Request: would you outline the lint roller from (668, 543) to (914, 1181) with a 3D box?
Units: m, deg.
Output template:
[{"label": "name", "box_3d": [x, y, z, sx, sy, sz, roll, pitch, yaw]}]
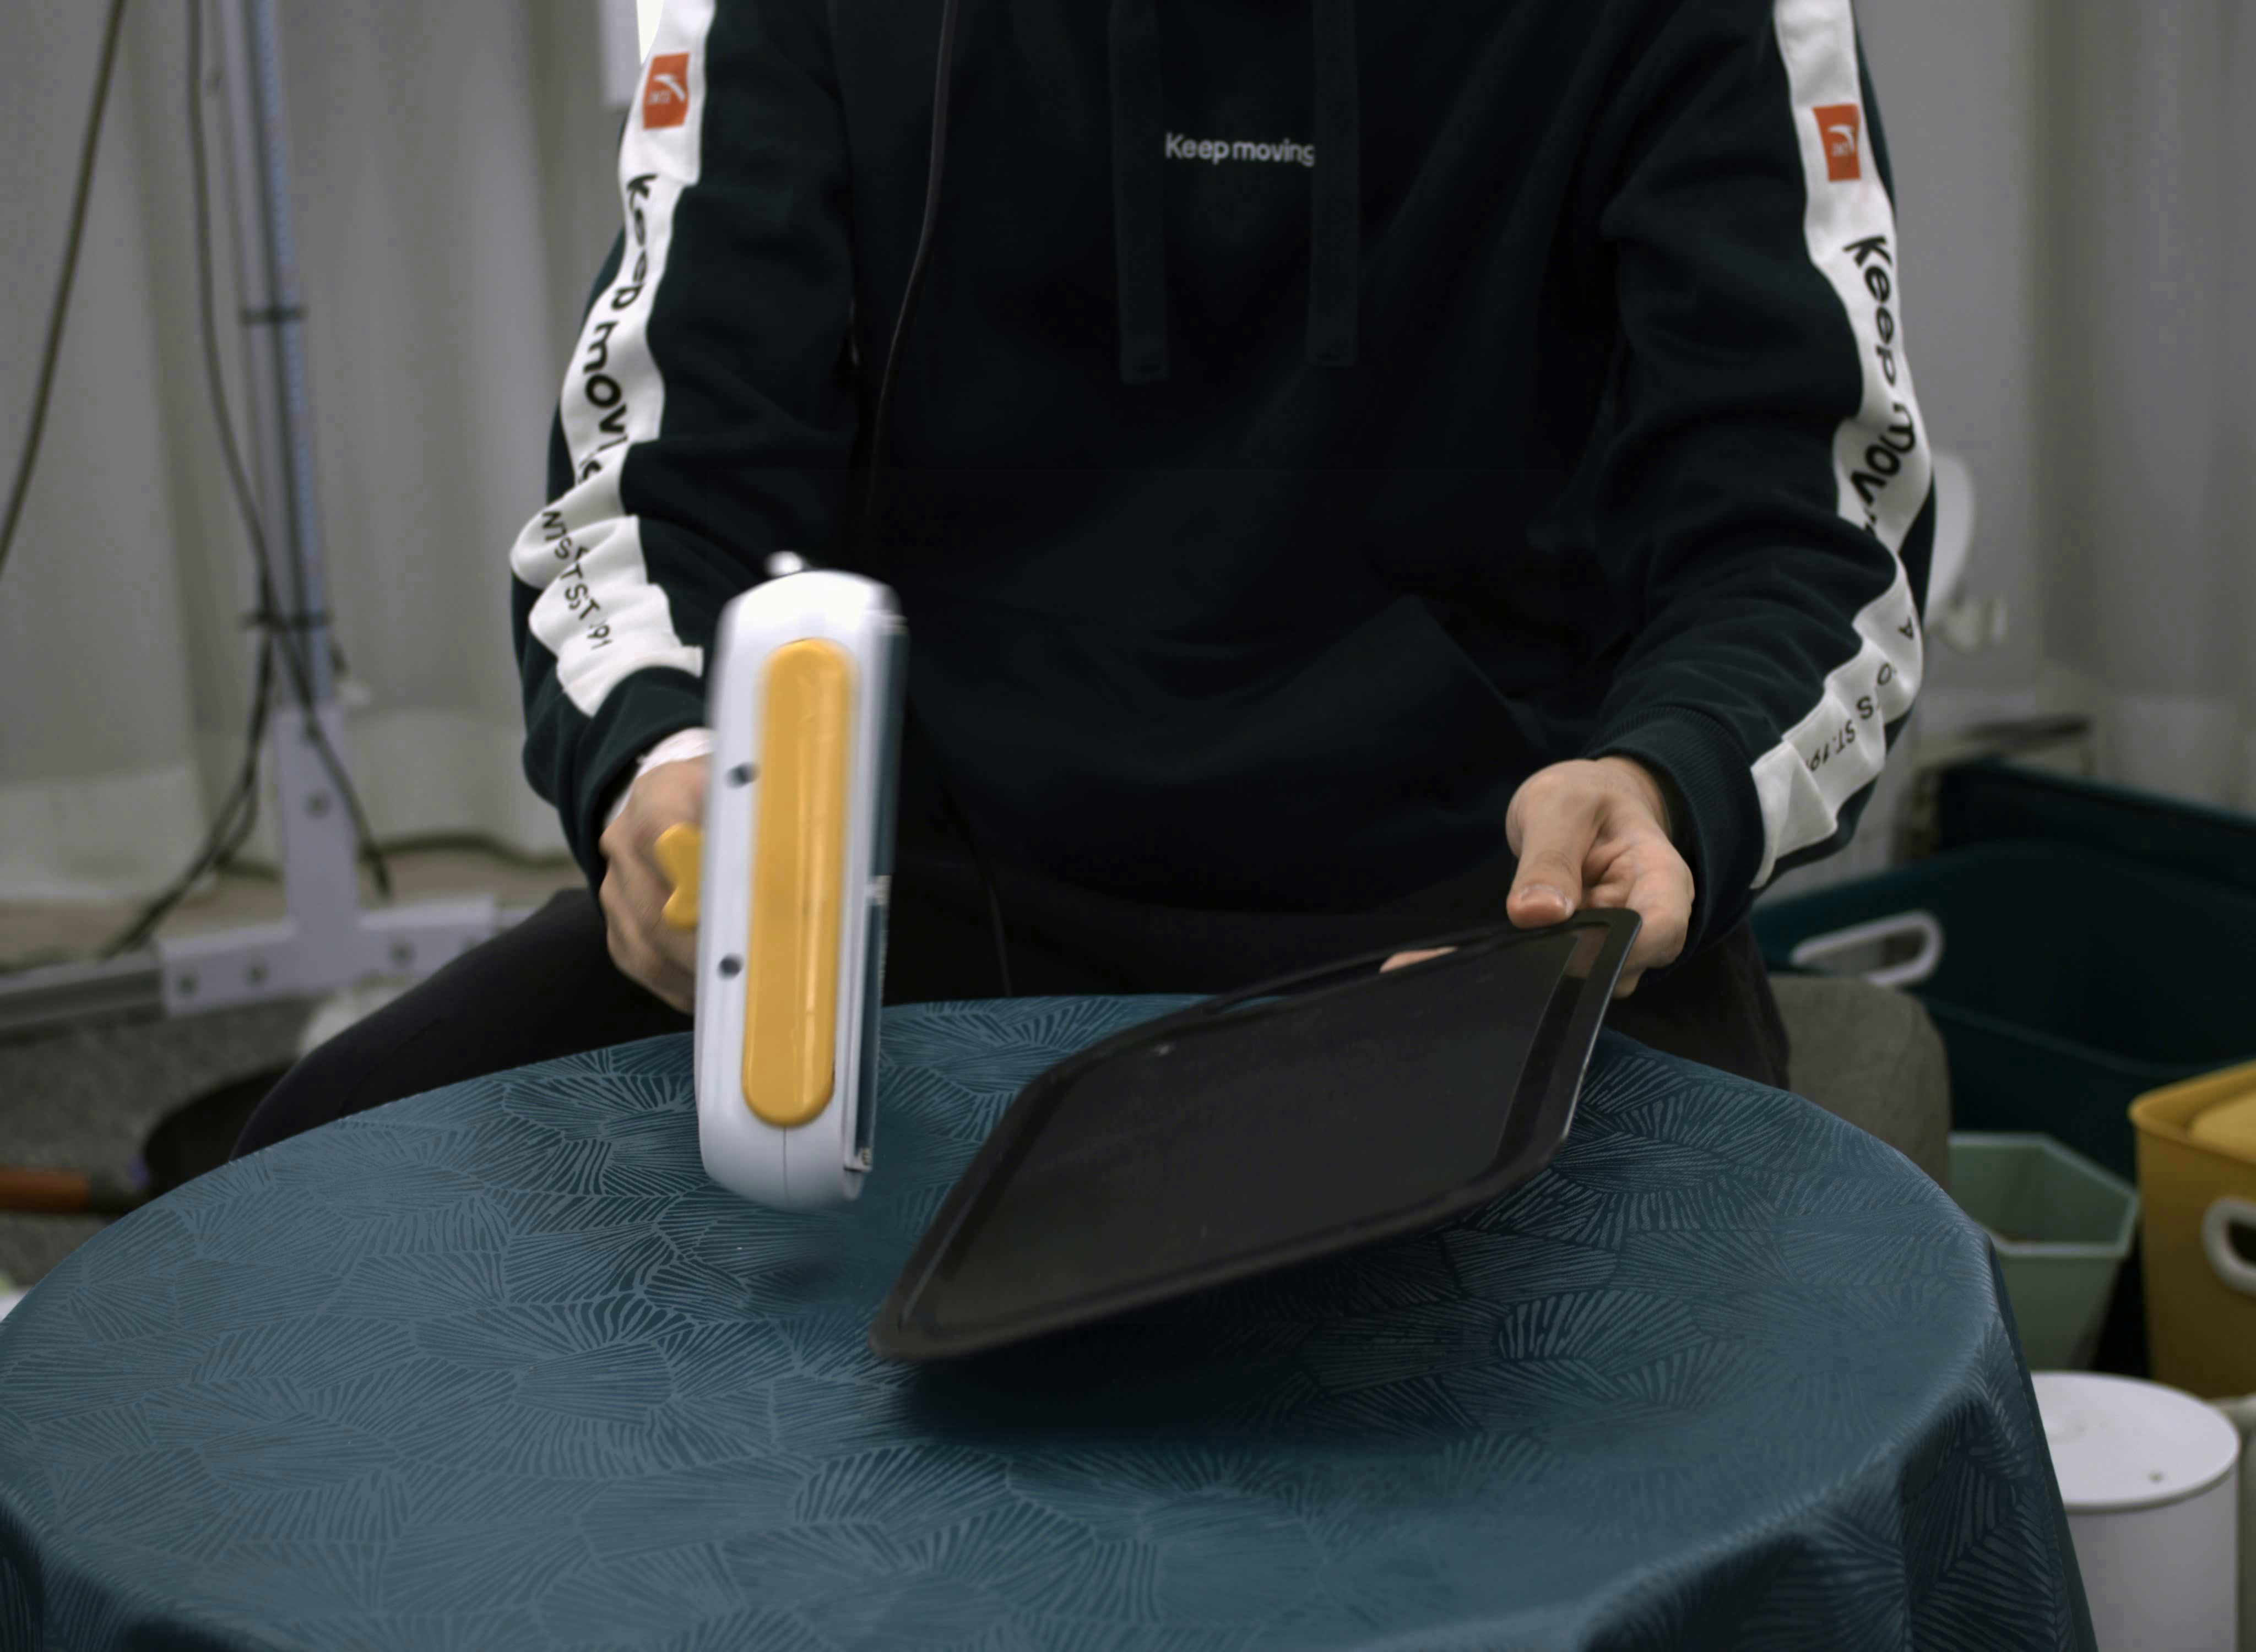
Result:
[{"label": "lint roller", "box_3d": [-0.106, 0.020, 1.709, 0.074, 0.194, 0.191, 1, -10, -3]}]

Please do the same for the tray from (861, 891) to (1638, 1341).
[{"label": "tray", "box_3d": [0.043, 0.080, 1.637, 0.210, 0.010, 0.327, -16, 12, 15]}]
